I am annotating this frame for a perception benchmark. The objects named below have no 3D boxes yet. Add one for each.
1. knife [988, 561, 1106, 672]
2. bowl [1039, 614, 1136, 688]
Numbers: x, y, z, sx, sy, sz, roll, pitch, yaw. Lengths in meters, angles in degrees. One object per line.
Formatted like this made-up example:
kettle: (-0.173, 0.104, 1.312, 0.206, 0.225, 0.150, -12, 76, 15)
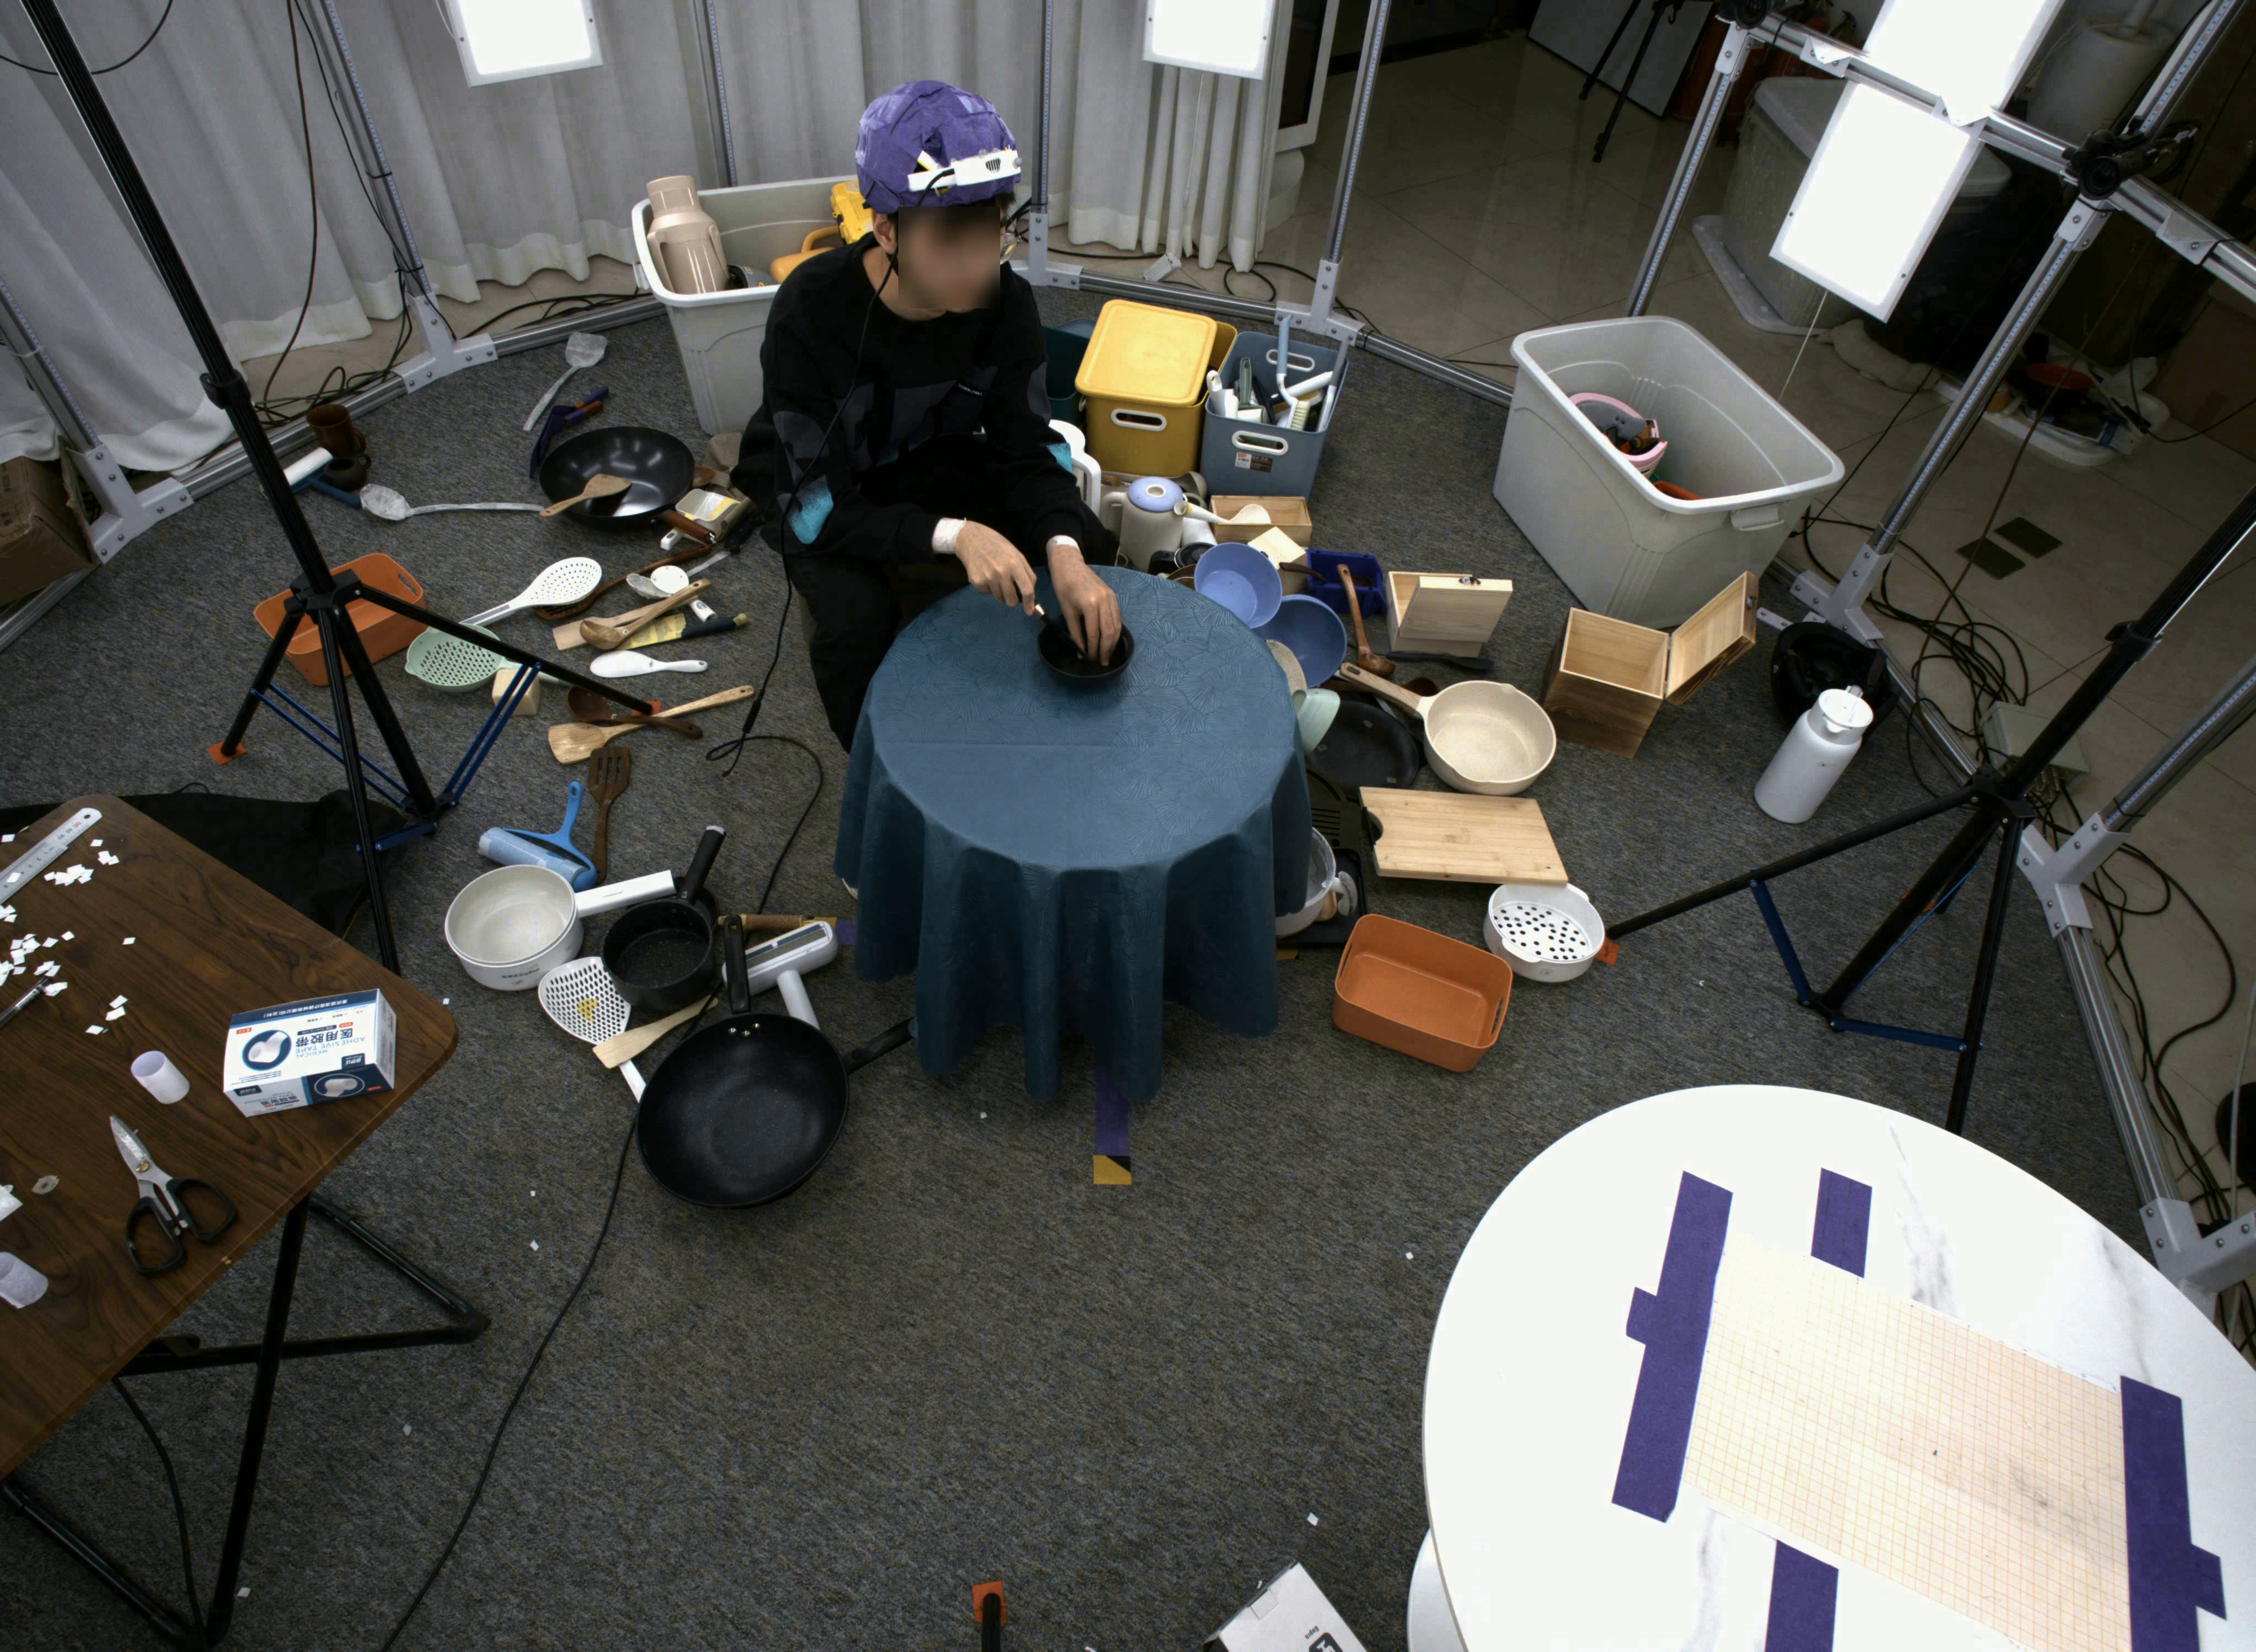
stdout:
knife: (-0.113, -0.296, 1.824, 0.225, 0.026, 0.017, 43, 67, 1)
bowl: (-0.057, -0.243, 1.848, 0.140, 0.048, 0.143, 0, 47, 0)
